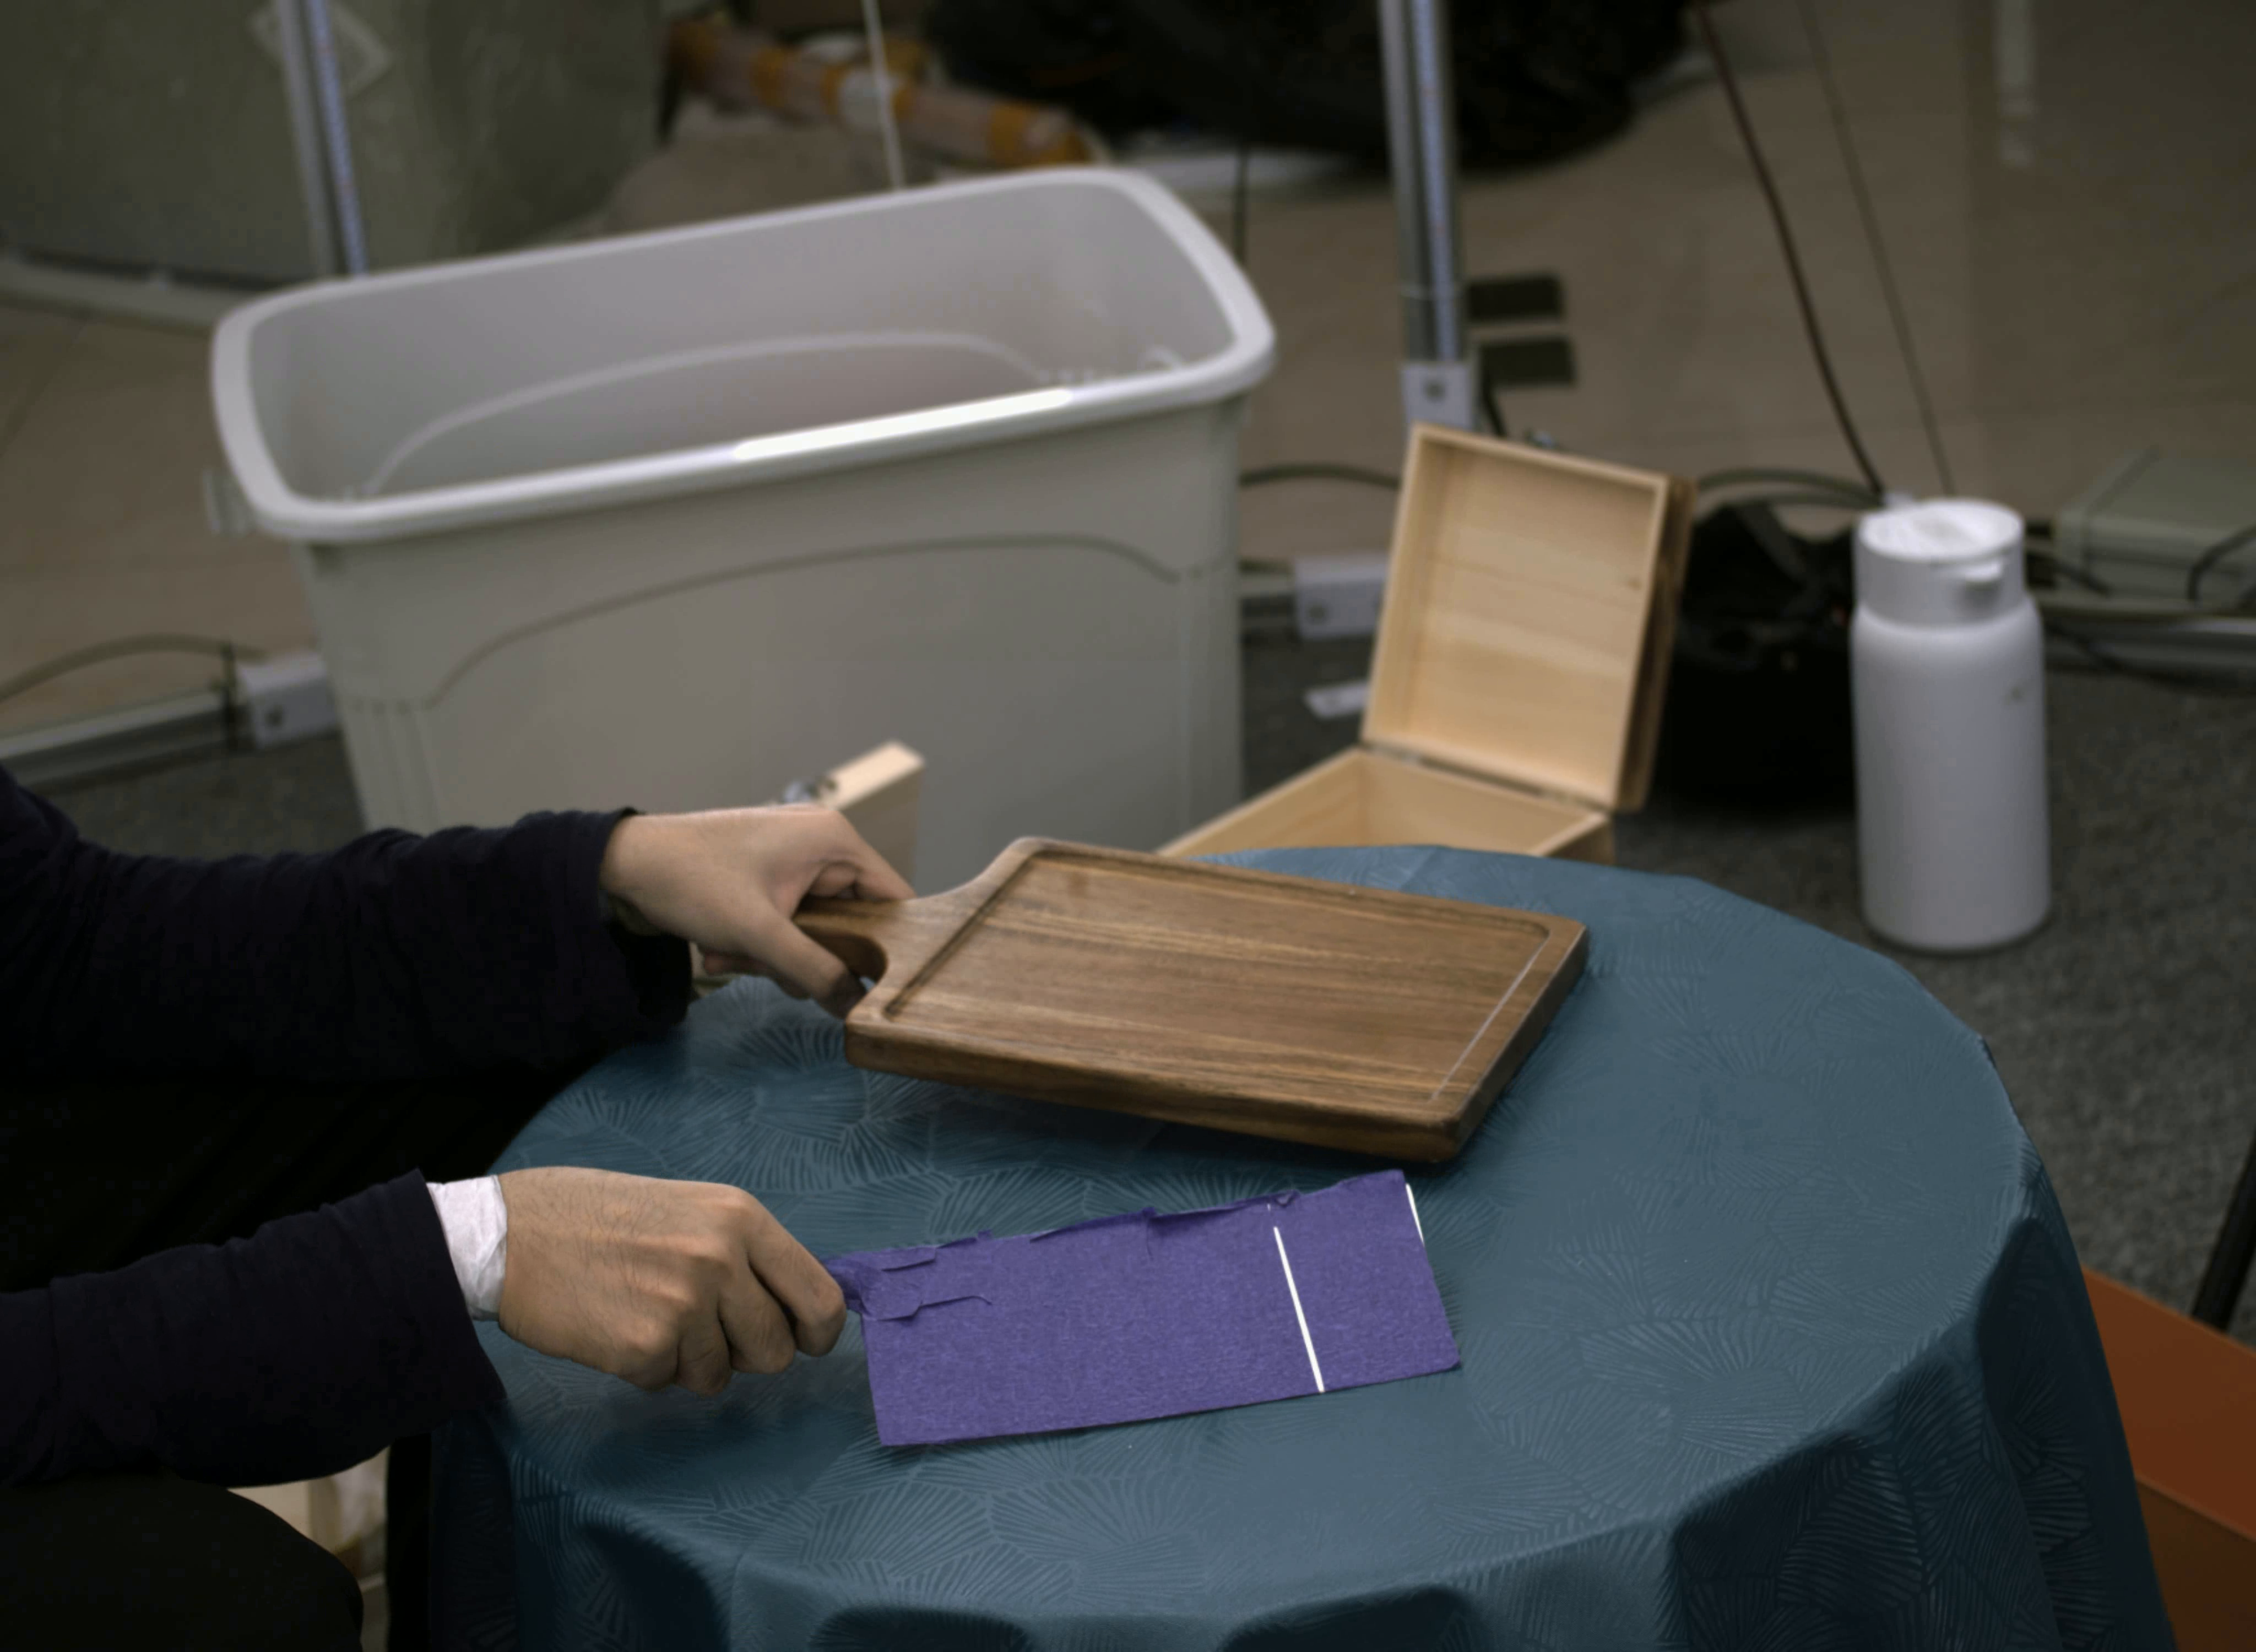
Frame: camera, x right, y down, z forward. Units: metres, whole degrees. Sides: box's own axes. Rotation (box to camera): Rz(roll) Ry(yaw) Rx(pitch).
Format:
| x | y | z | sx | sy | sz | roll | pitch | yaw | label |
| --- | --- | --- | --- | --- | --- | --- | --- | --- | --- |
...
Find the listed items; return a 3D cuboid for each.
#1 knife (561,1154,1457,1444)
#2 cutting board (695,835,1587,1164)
| x | y | z | sx | sy | sz | roll | pitch | yaw | label |
| --- | --- | --- | --- | --- | --- | --- | --- | --- | --- |
| -0.043 | 0.176 | 2.020 | 0.314 | 0.033 | 0.102 | -9 | 45 | -4 | knife |
| -0.009 | 0.058 | 2.257 | 0.351 | 0.023 | 0.198 | 8 | 26 | 18 | cutting board |
